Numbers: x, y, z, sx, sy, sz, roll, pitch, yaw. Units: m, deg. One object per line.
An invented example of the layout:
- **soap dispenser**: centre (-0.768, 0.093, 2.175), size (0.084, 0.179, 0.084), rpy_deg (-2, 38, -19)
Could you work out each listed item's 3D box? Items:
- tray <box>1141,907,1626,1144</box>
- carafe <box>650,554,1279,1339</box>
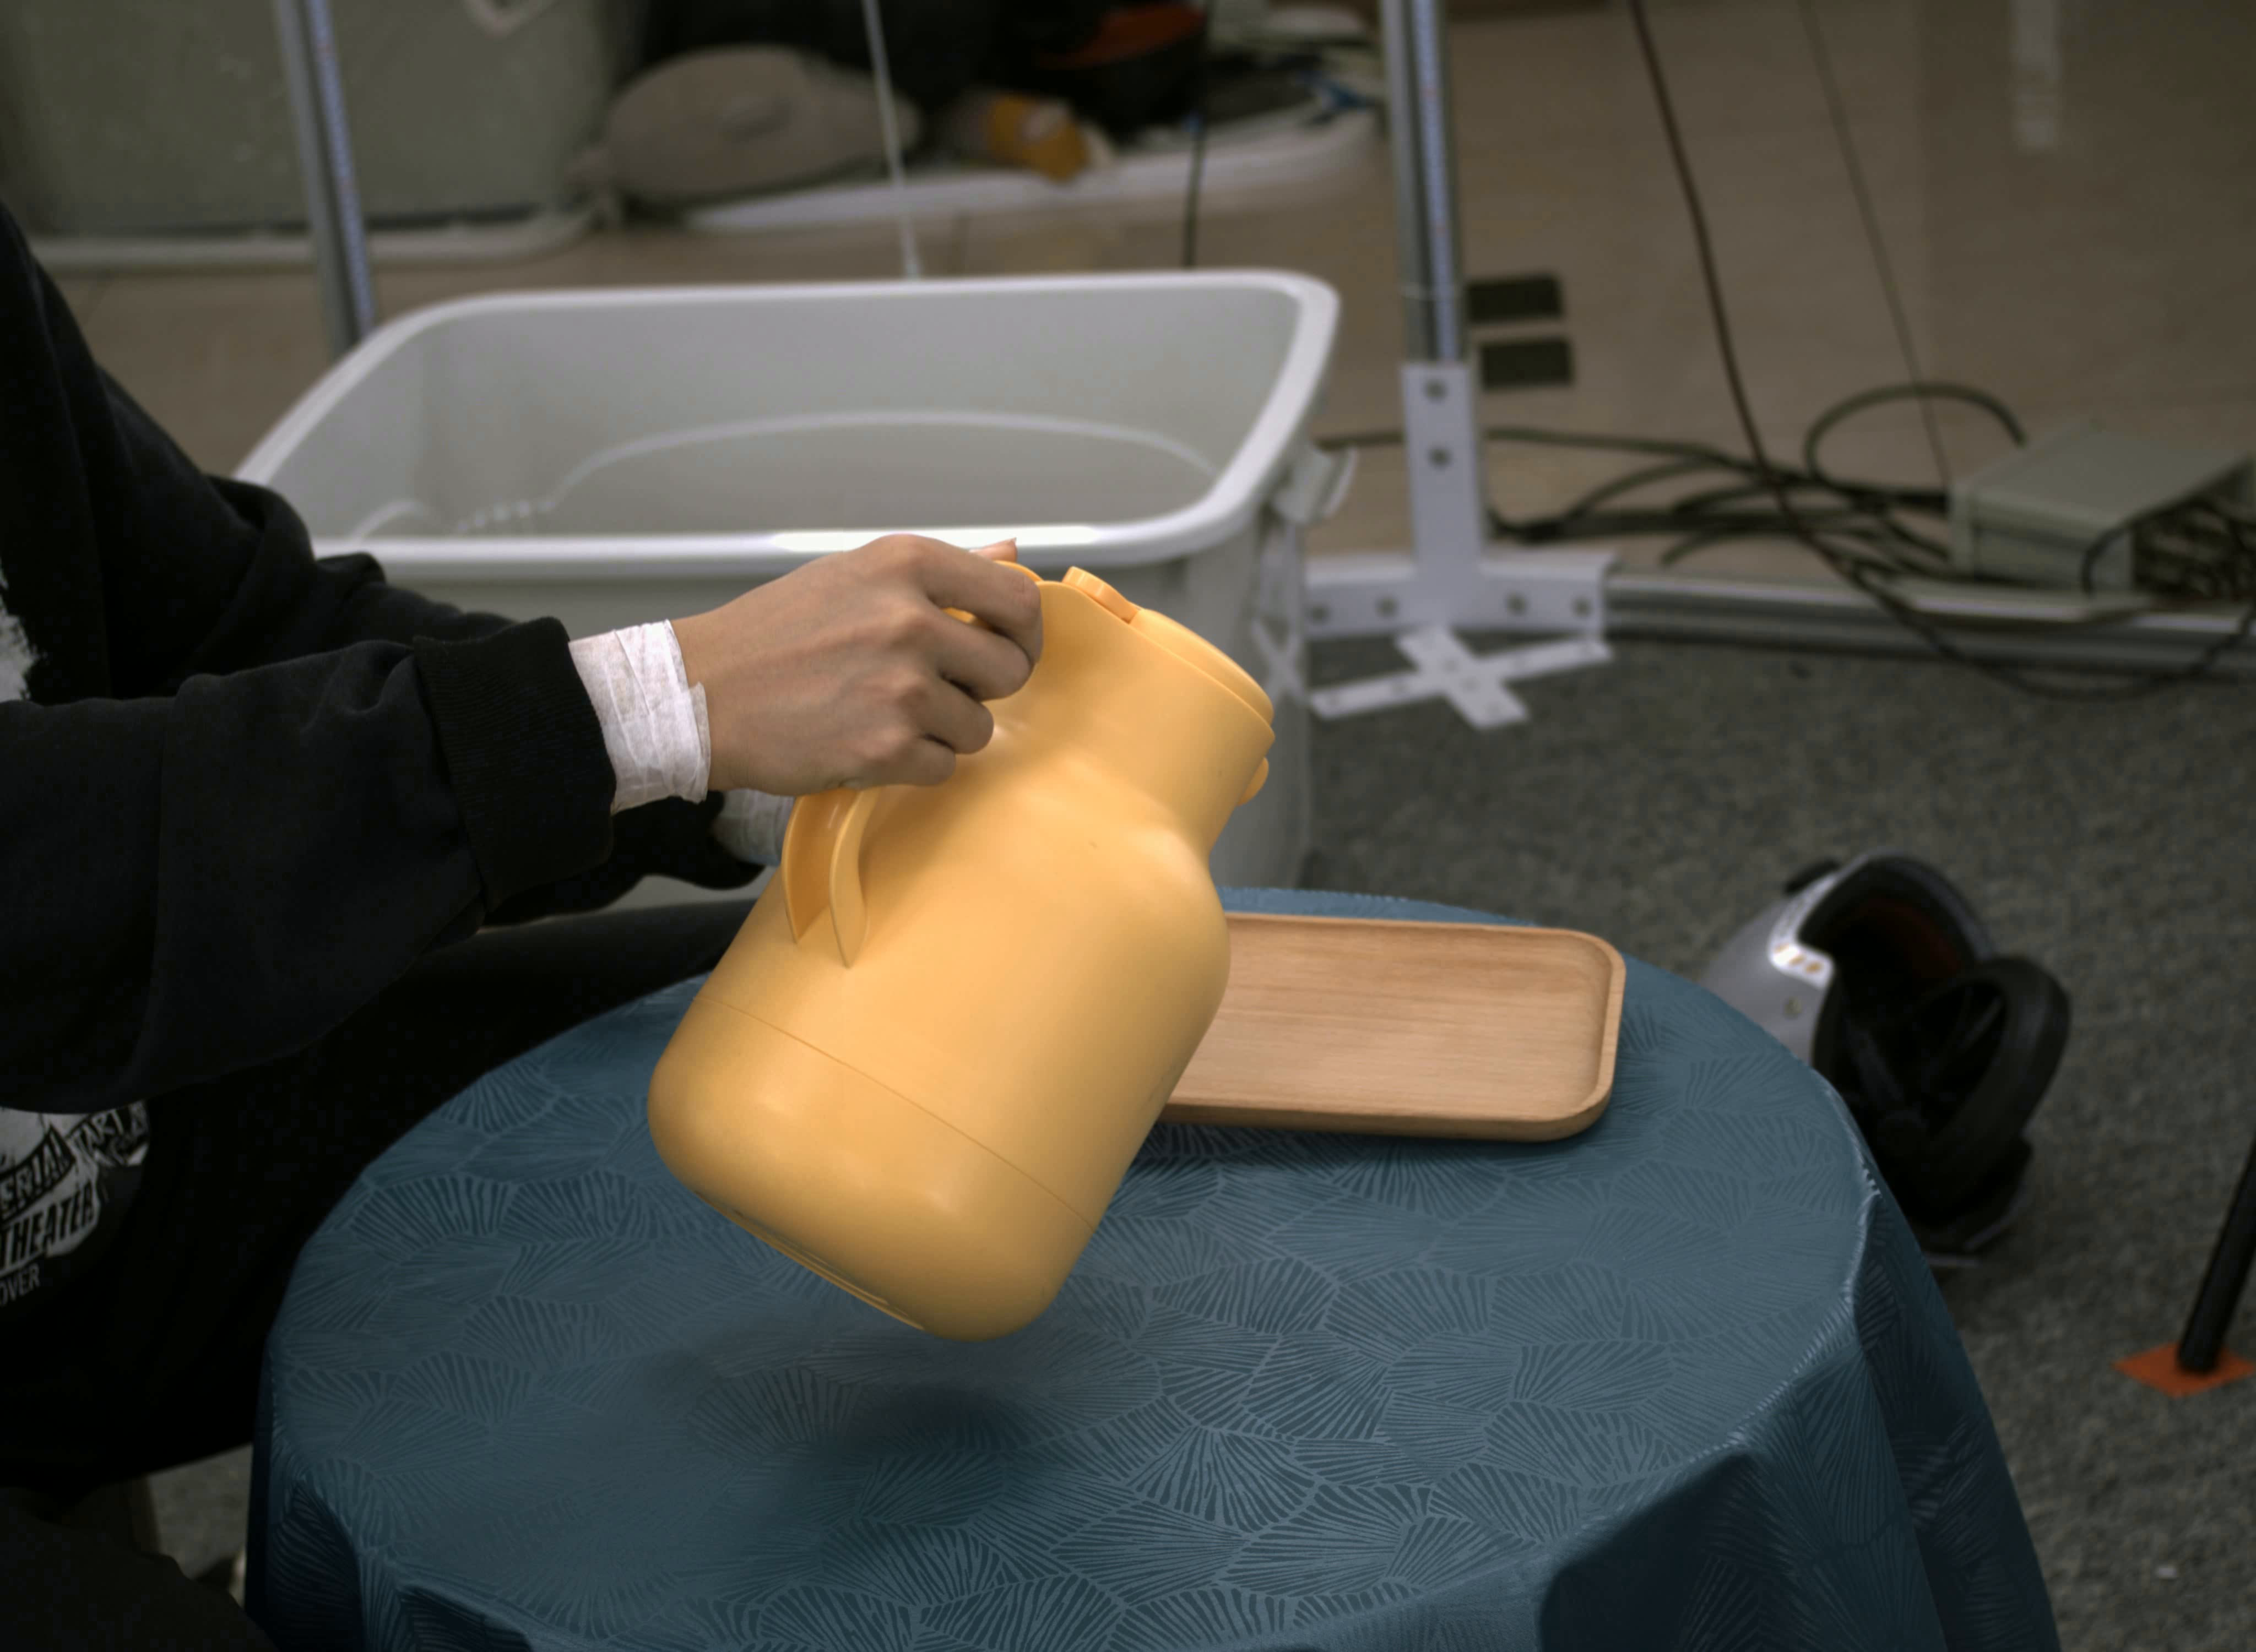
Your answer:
- **tray**: centre (0.066, 0.076, 2.207), size (0.250, 0.023, 0.128), rpy_deg (3, 33, 10)
- **carafe**: centre (-0.056, 0.032, 1.992), size (0.162, 0.205, 0.259), rpy_deg (22, 77, 40)
